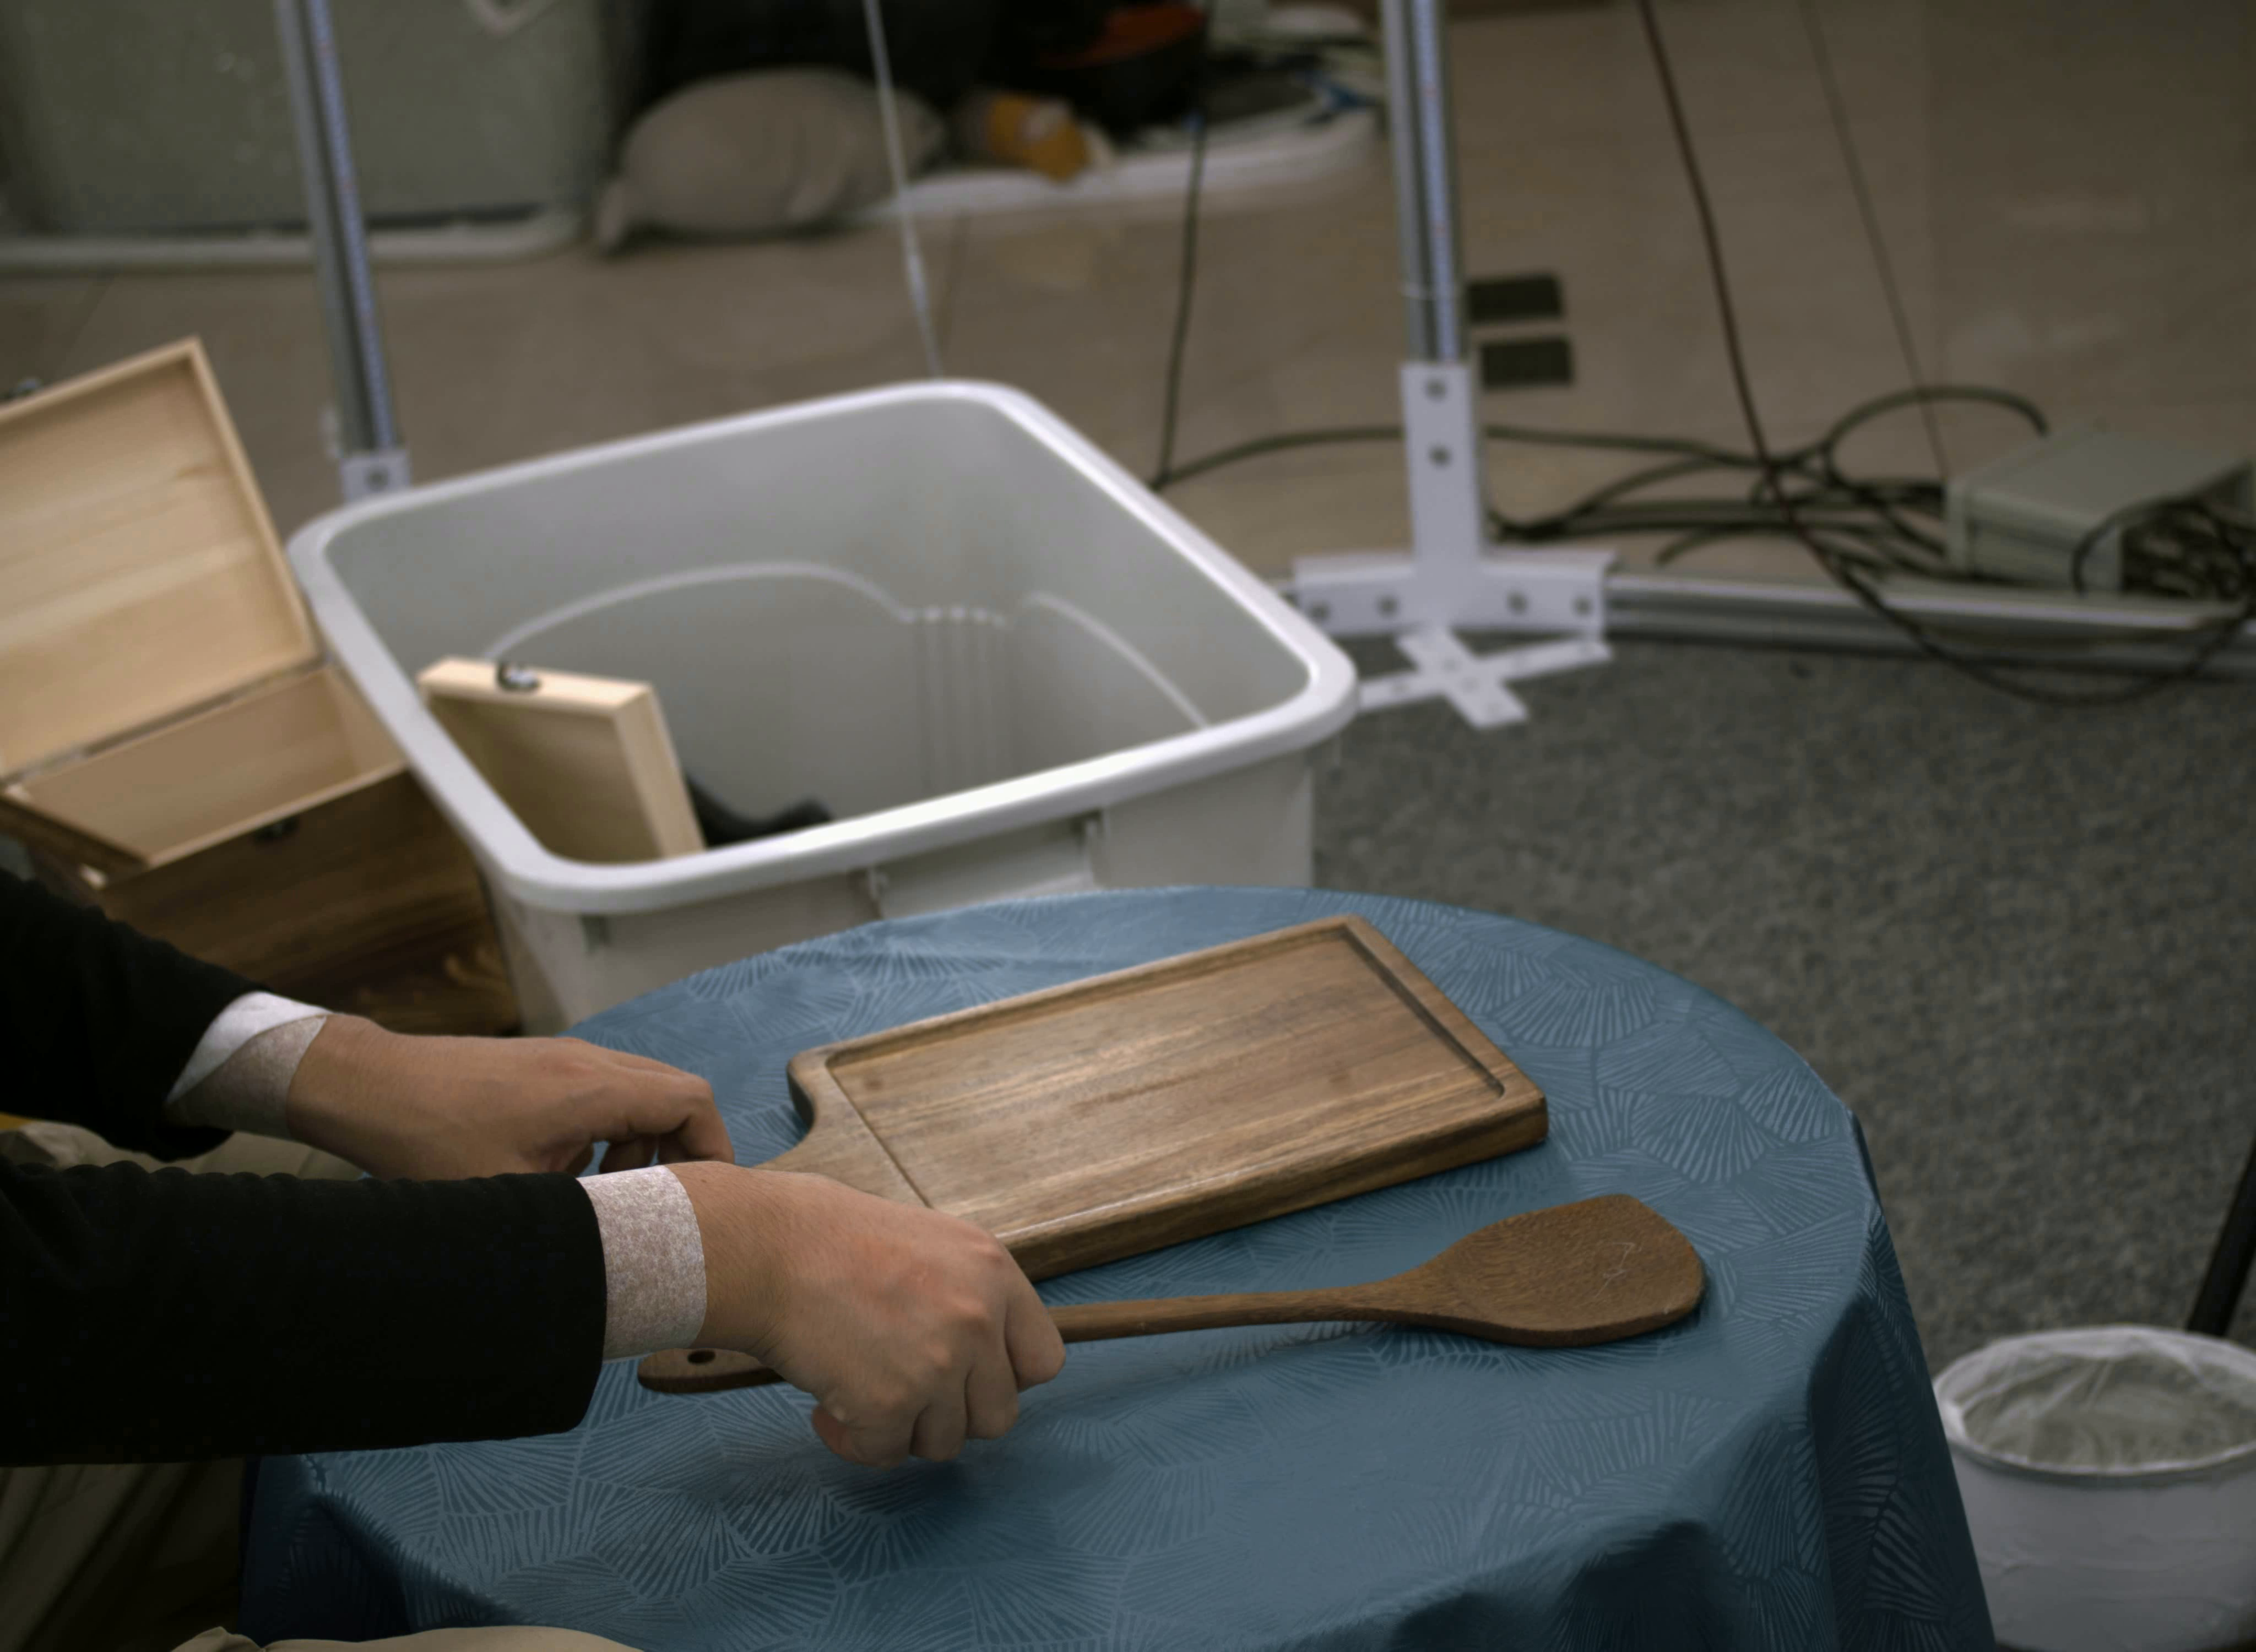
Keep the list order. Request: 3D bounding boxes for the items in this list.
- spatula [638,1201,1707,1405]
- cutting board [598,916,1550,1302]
[{"bbox_3d":[0.017,0.175,2.019,0.385,0.016,0.095,-5,24,-11],"label":"spatula"},{"bbox_3d":[-0.035,0.117,2.180,0.351,0.023,0.198,-14,26,-16],"label":"cutting board"}]
